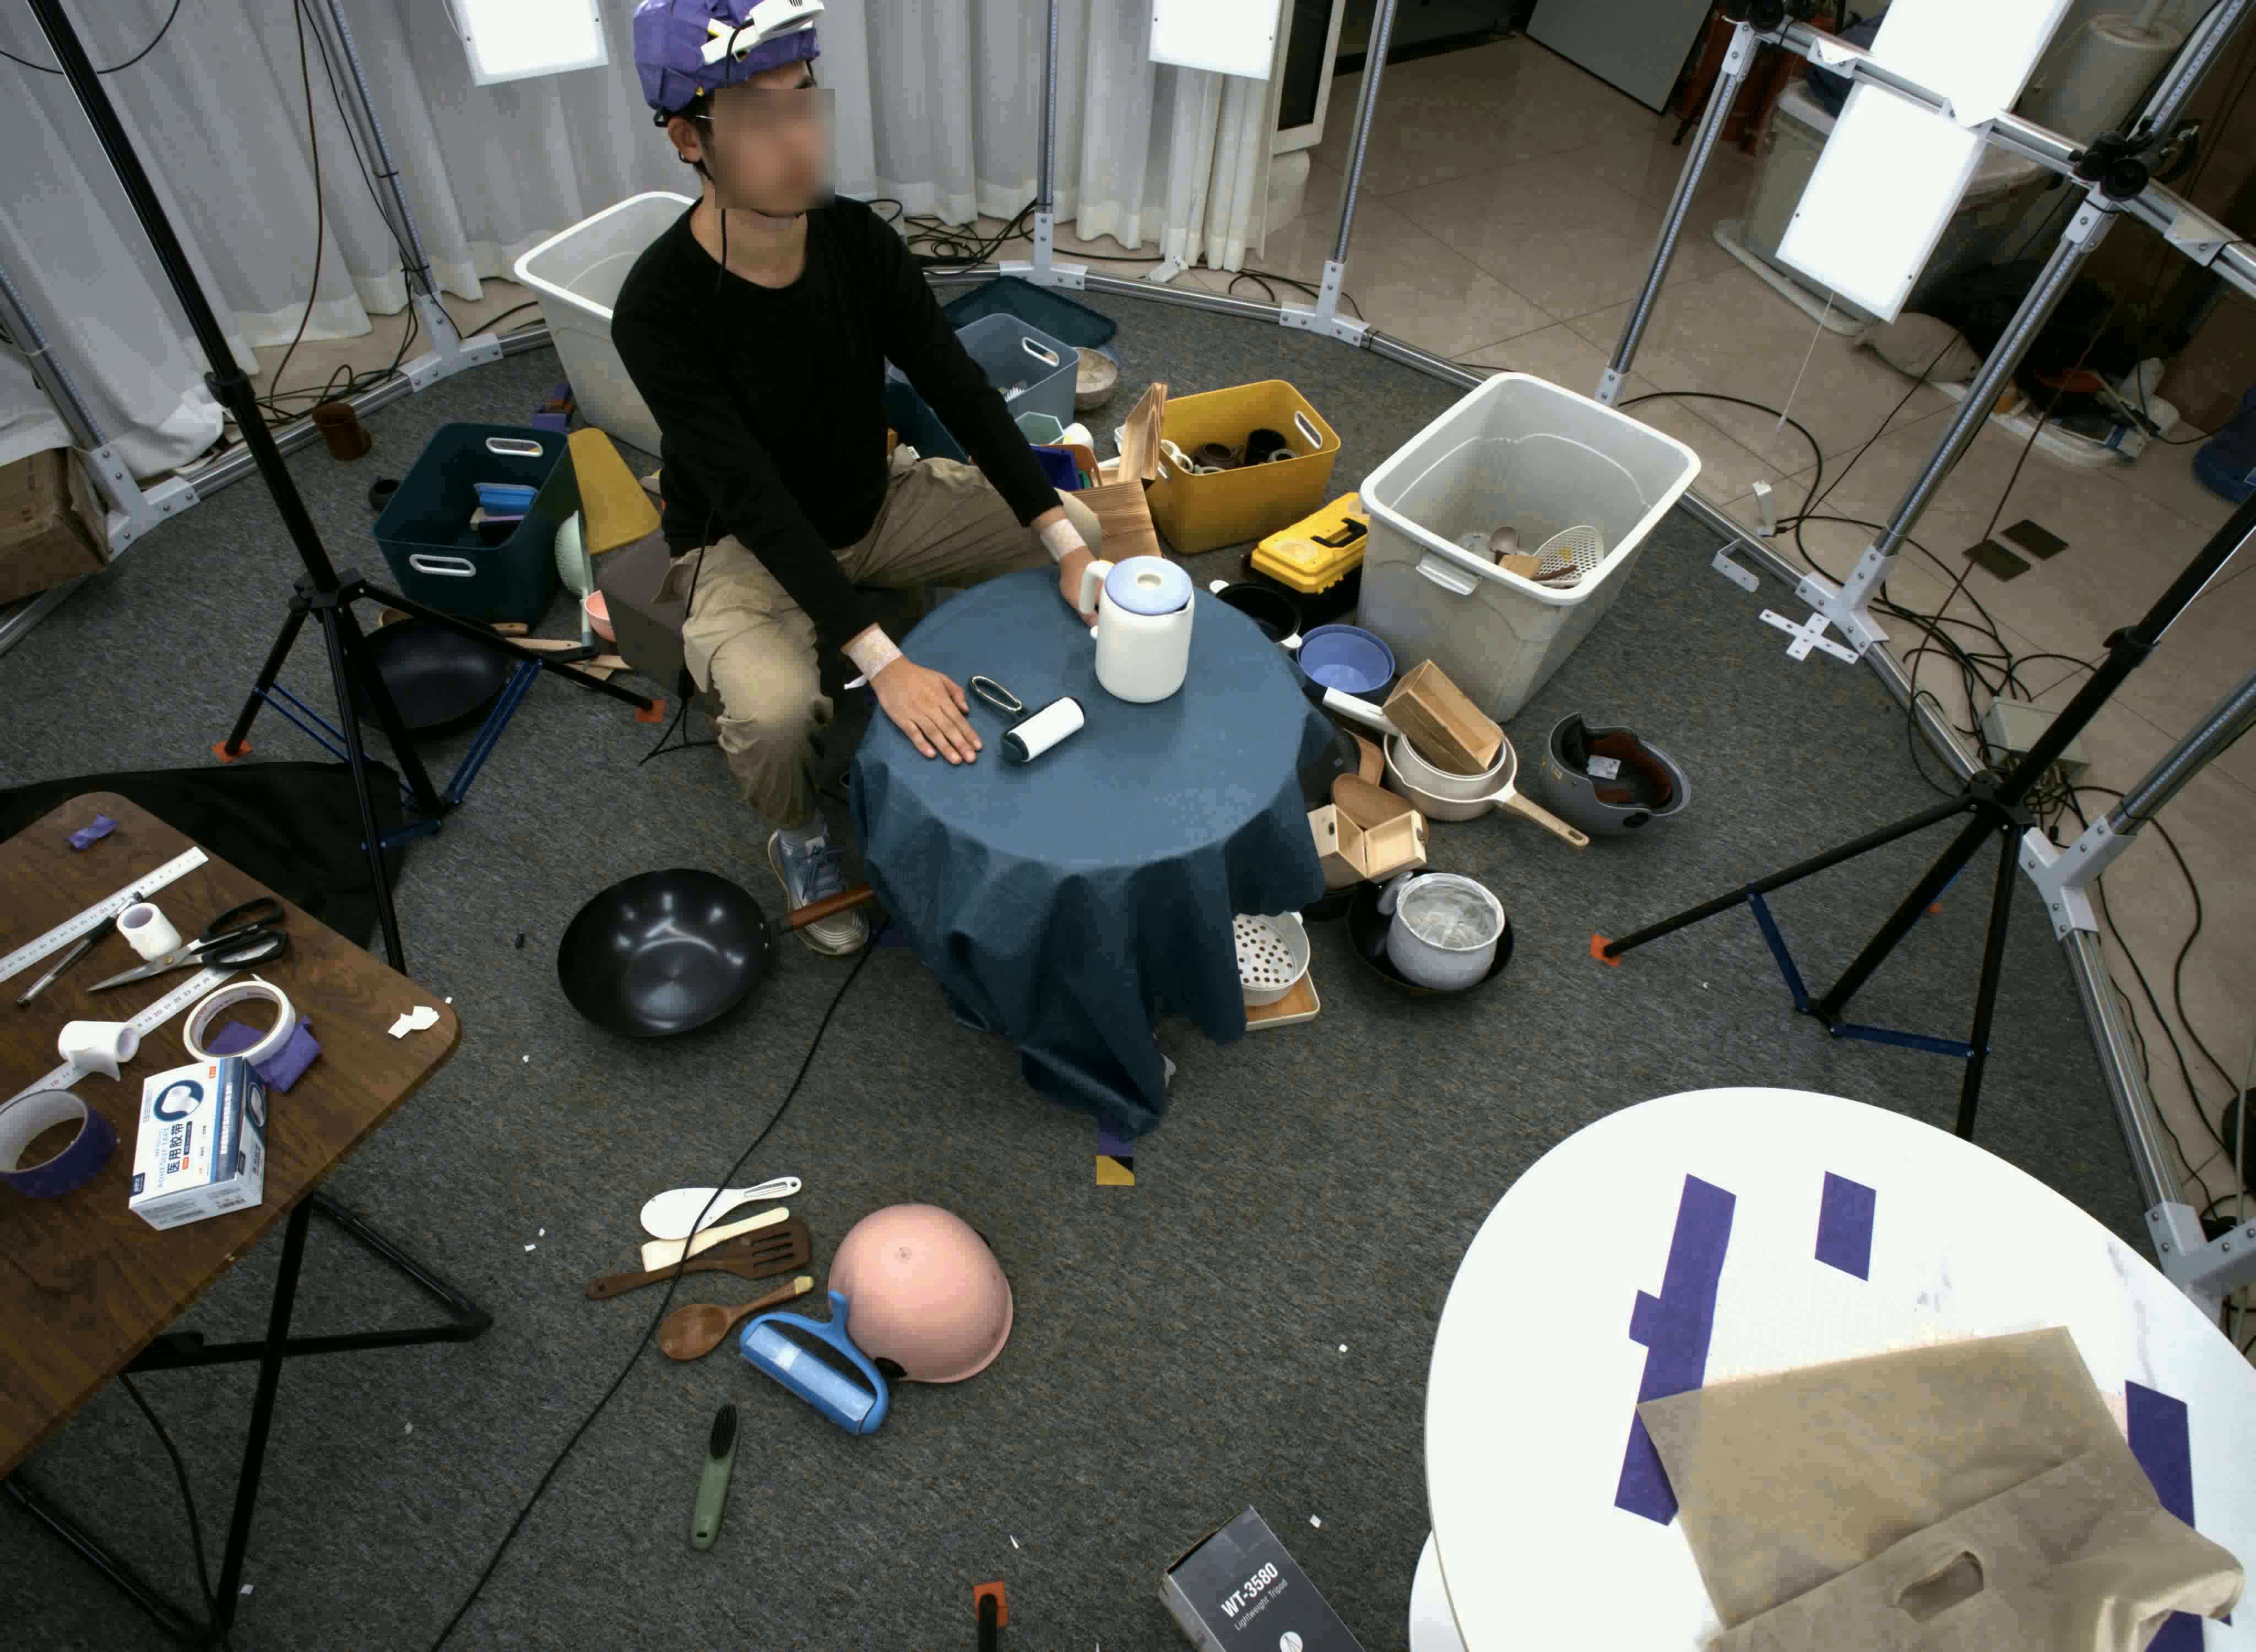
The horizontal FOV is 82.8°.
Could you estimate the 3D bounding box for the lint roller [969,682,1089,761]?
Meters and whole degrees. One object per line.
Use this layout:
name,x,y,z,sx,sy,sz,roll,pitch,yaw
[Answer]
lint roller,-0.160,-0.169,1.779,0.135,0.047,0.183,-35,56,-29

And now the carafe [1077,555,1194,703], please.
carafe,0.004,-0.288,1.809,0.193,0.178,0.134,33,54,25
